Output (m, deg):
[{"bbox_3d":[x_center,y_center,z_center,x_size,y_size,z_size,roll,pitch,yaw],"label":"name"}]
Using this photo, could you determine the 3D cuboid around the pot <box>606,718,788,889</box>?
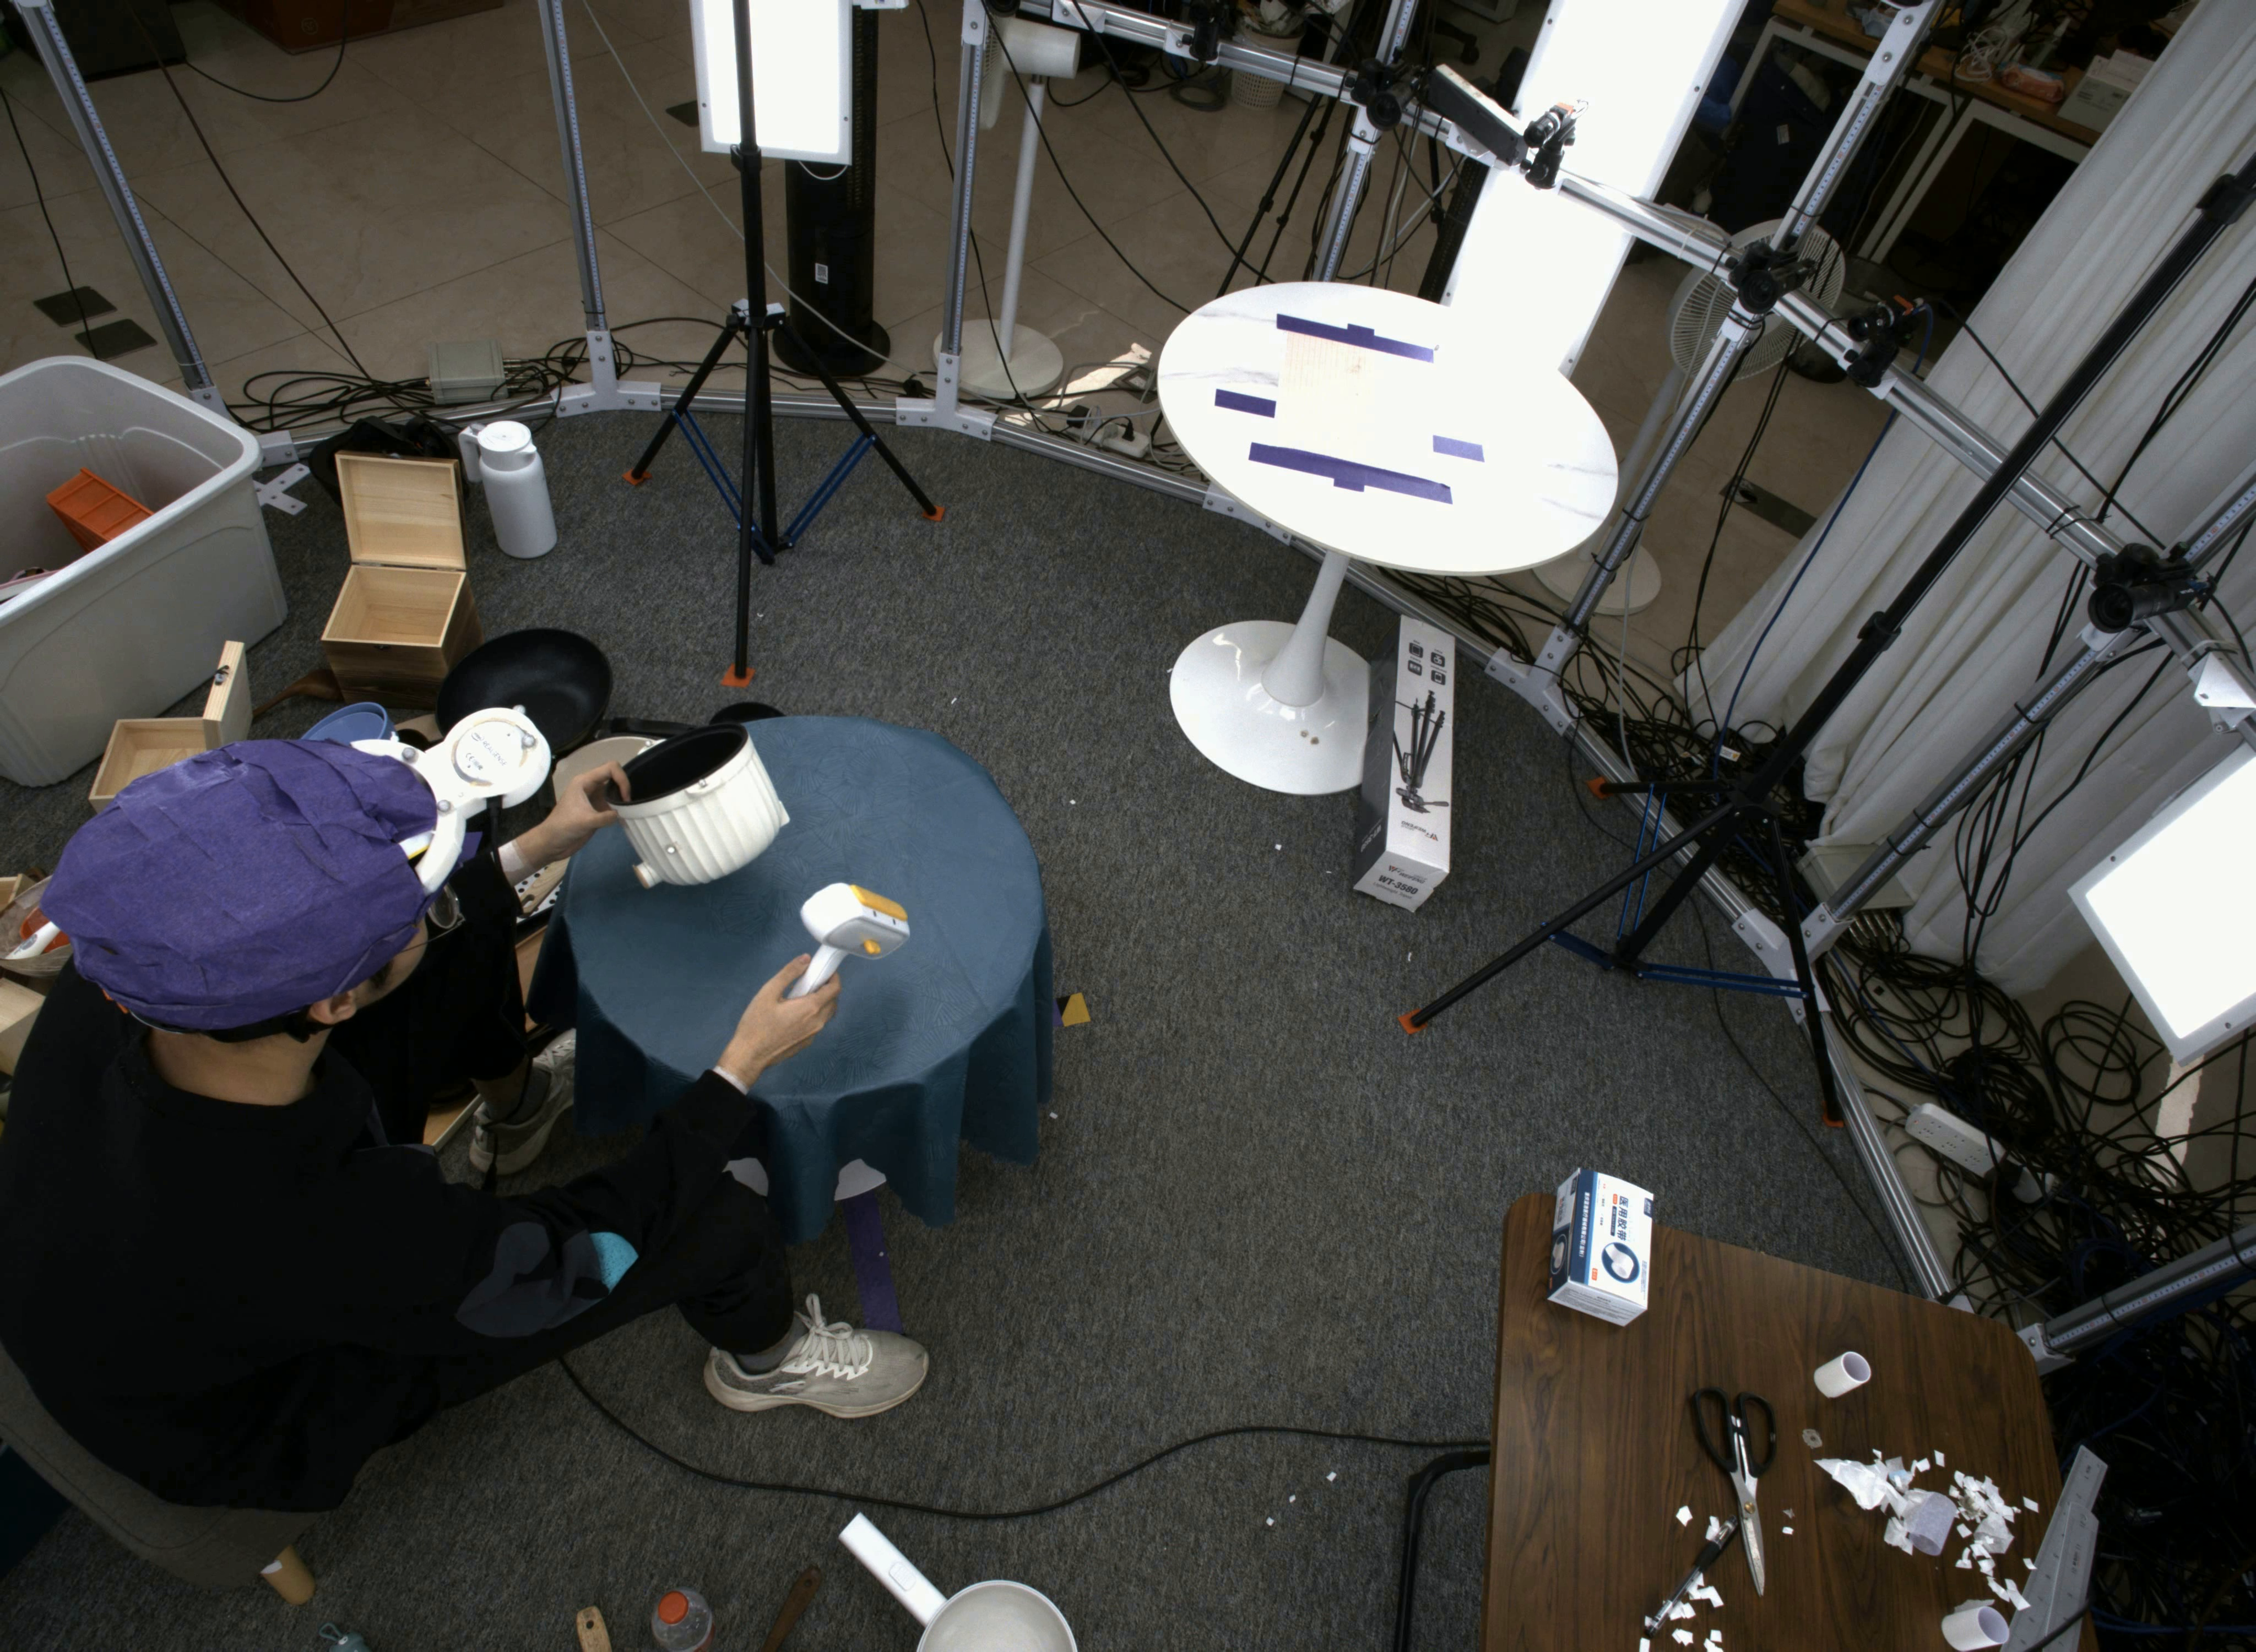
[{"bbox_3d":[-0.517,-0.022,1.538,0.191,0.148,0.231,-32,30,-26],"label":"pot"}]

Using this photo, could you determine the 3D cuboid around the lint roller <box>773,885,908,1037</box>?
[{"bbox_3d":[-0.347,0.153,1.484,0.192,0.195,0.073,-45,79,3],"label":"lint roller"}]
